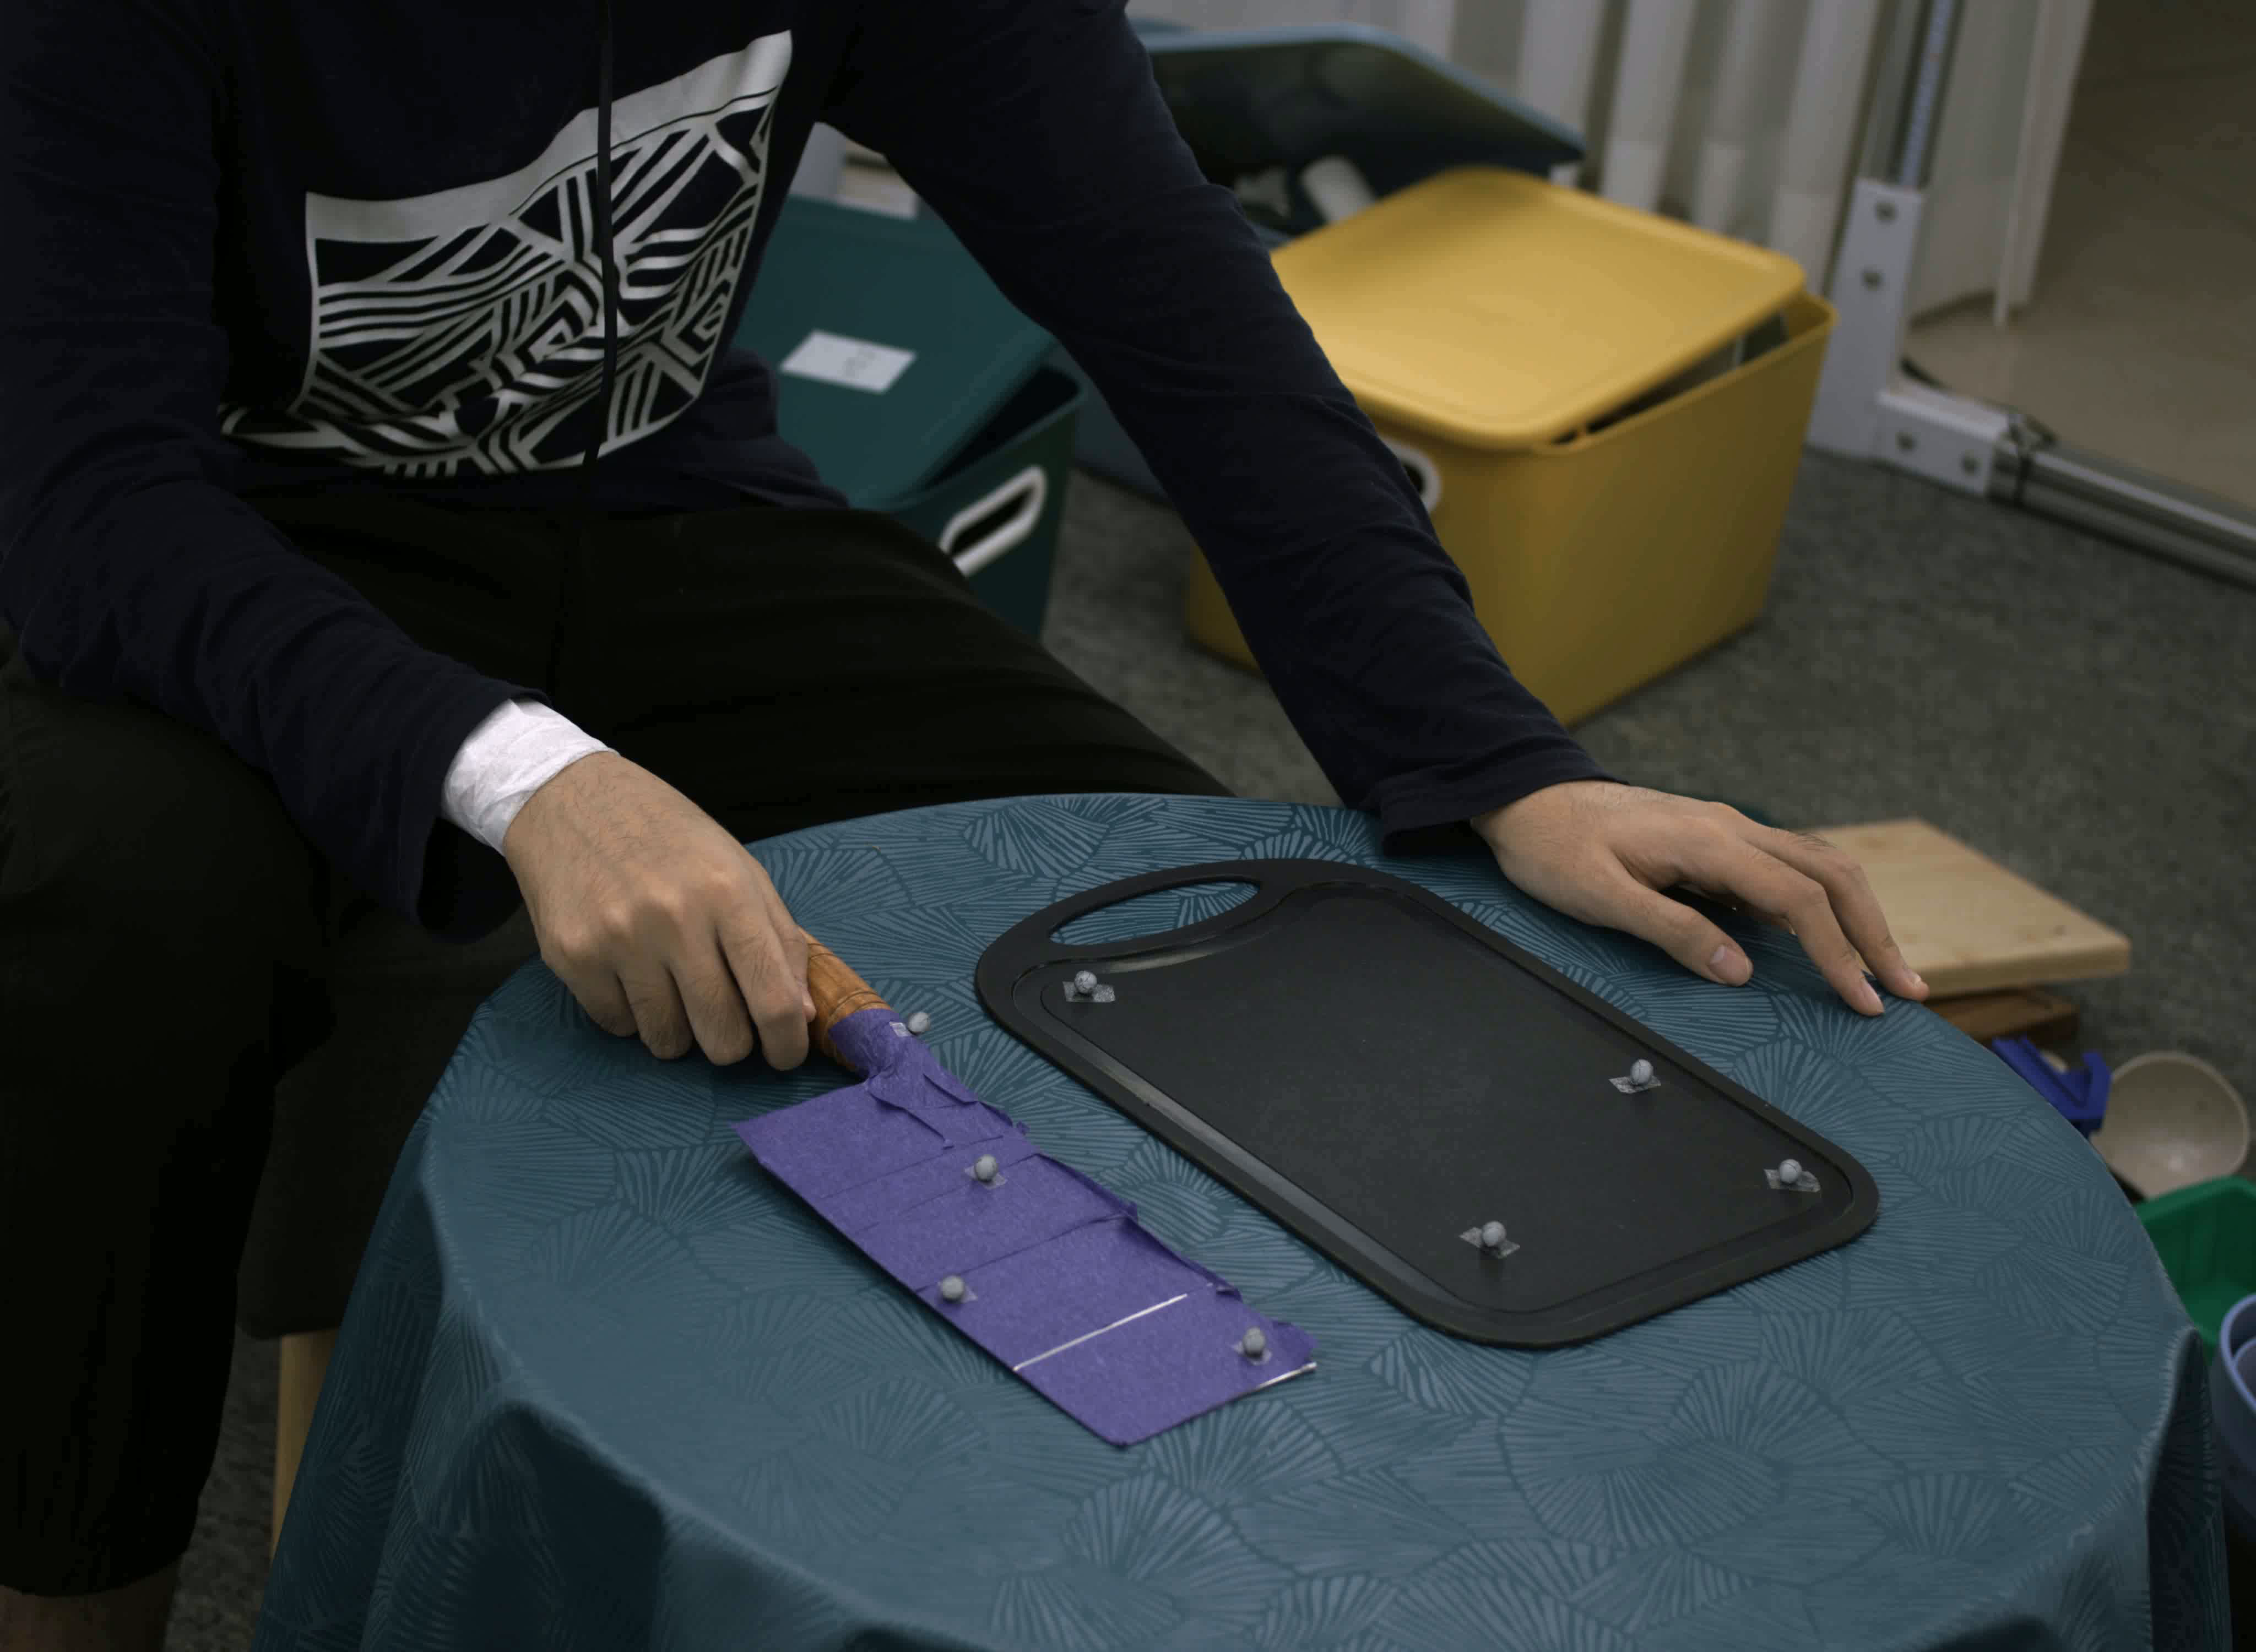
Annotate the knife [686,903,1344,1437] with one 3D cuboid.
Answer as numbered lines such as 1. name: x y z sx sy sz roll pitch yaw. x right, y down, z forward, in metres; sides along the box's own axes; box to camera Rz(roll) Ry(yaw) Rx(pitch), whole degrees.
1. knife: -0.068 0.111 1.785 0.103 0.032 0.318 -17 35 -38

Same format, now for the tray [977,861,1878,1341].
1. tray: 0.097 0.088 1.891 0.210 0.010 0.328 -15 34 -36
